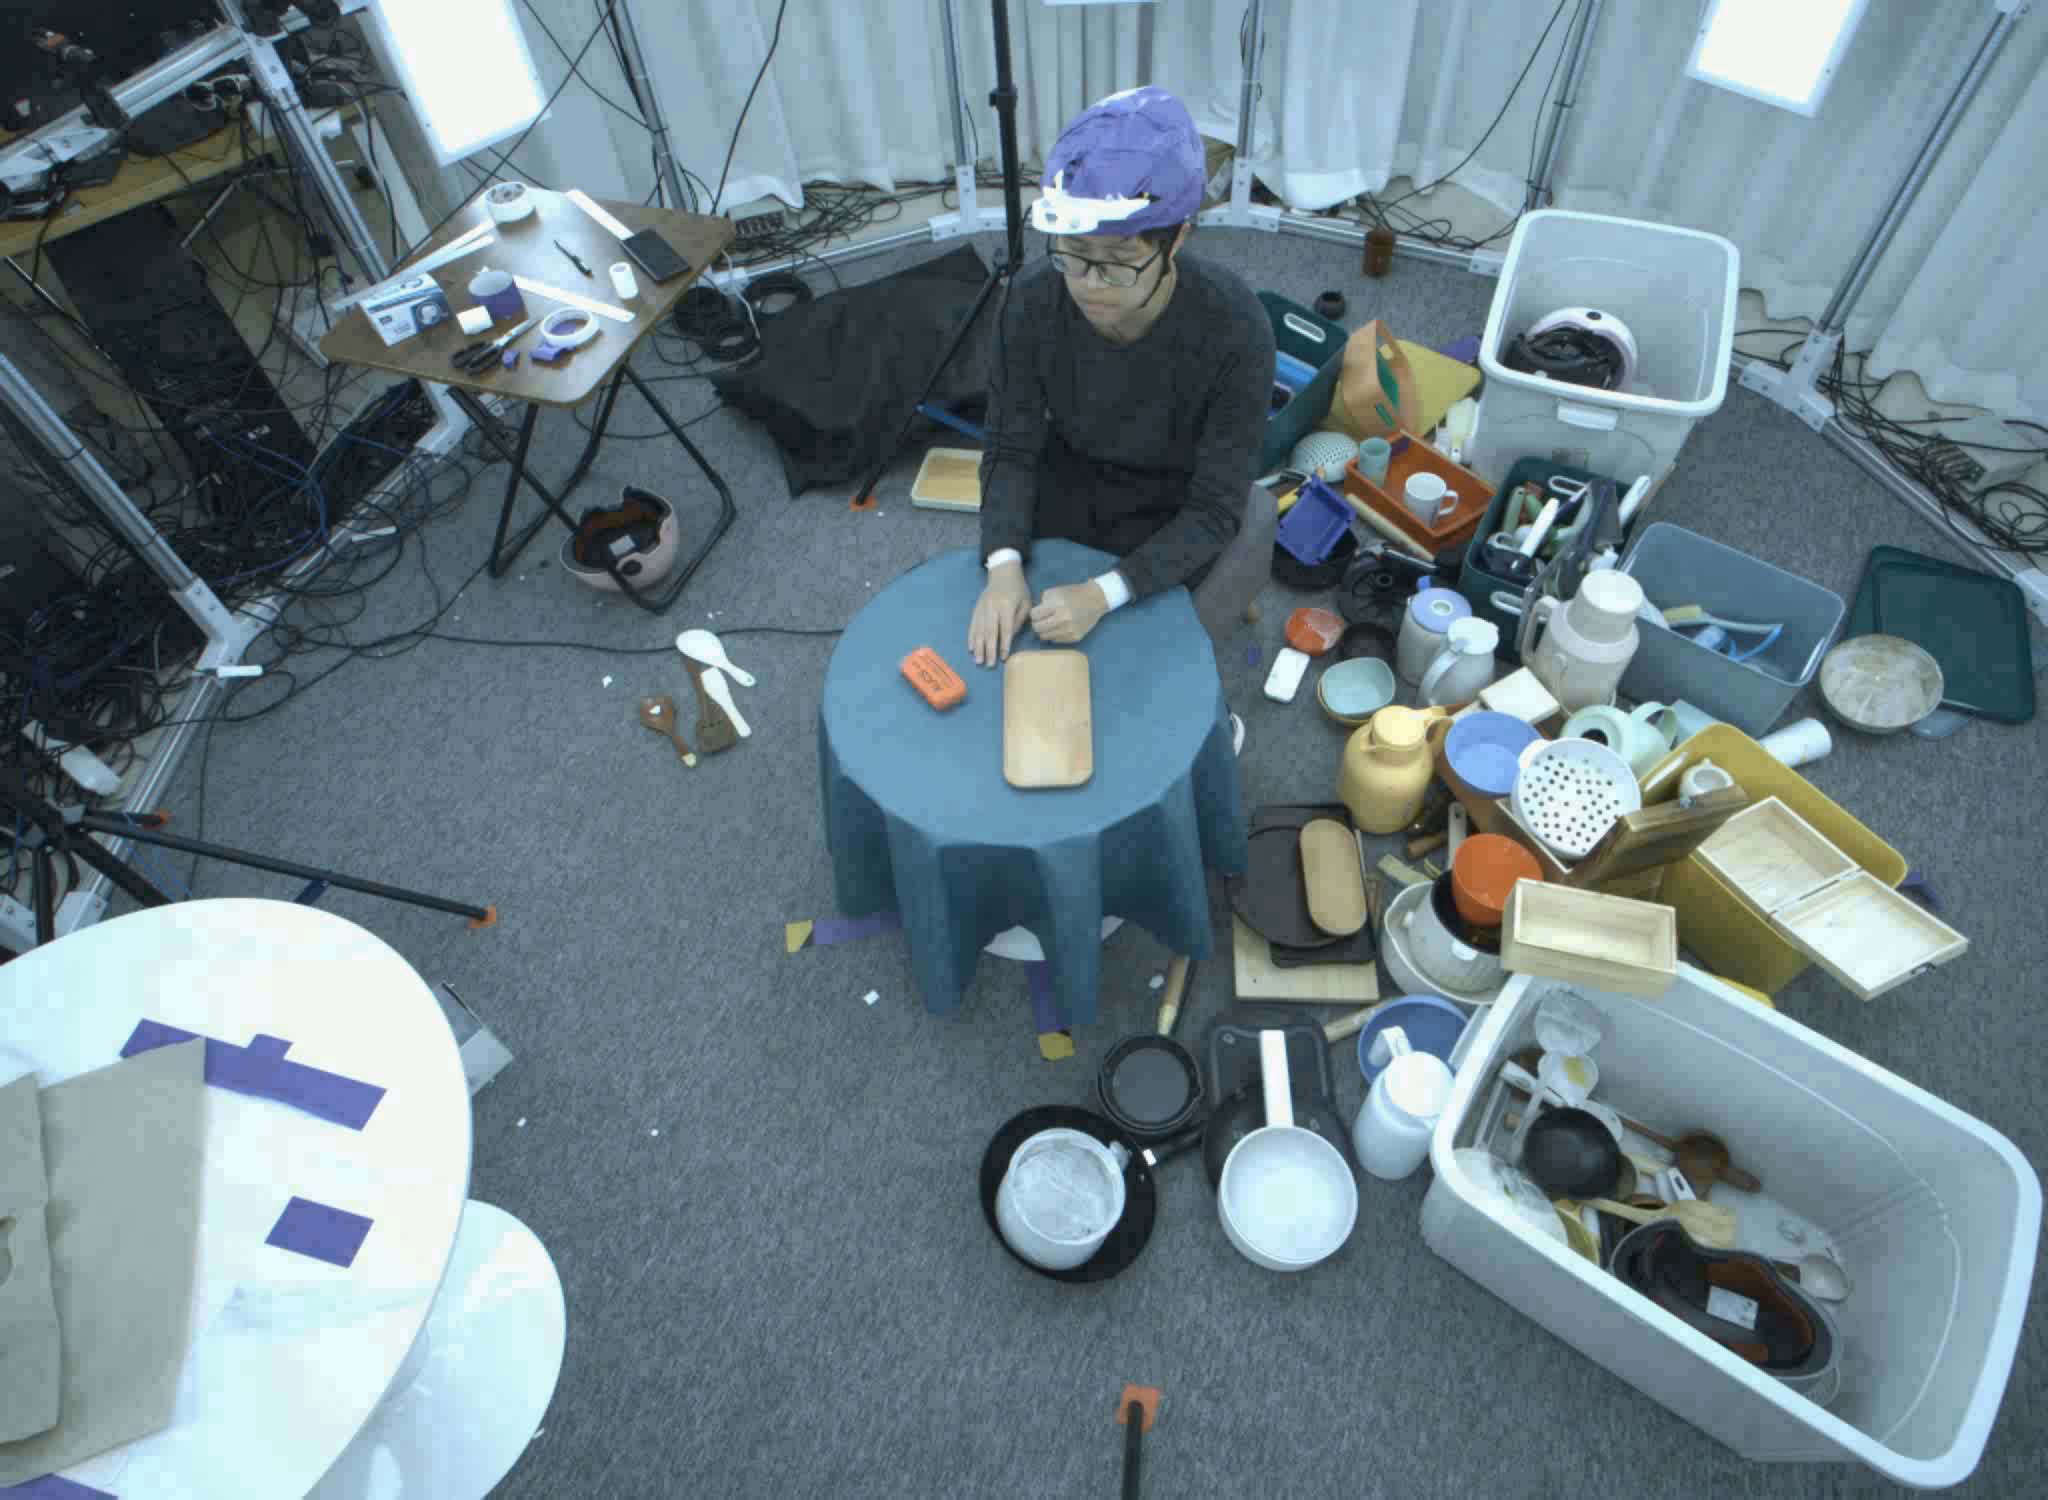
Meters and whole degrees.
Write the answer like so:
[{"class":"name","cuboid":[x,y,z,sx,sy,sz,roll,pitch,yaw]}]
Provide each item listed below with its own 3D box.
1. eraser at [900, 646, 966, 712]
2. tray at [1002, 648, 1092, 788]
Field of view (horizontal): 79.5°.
[{"class":"eraser","cuboid":[-0.138,-0.109,1.854,0.059,0.023,0.106,-33,60,-19]},{"class":"tray","cuboid":[0.034,-0.049,1.811,0.130,0.023,0.248,1,54,0]}]
